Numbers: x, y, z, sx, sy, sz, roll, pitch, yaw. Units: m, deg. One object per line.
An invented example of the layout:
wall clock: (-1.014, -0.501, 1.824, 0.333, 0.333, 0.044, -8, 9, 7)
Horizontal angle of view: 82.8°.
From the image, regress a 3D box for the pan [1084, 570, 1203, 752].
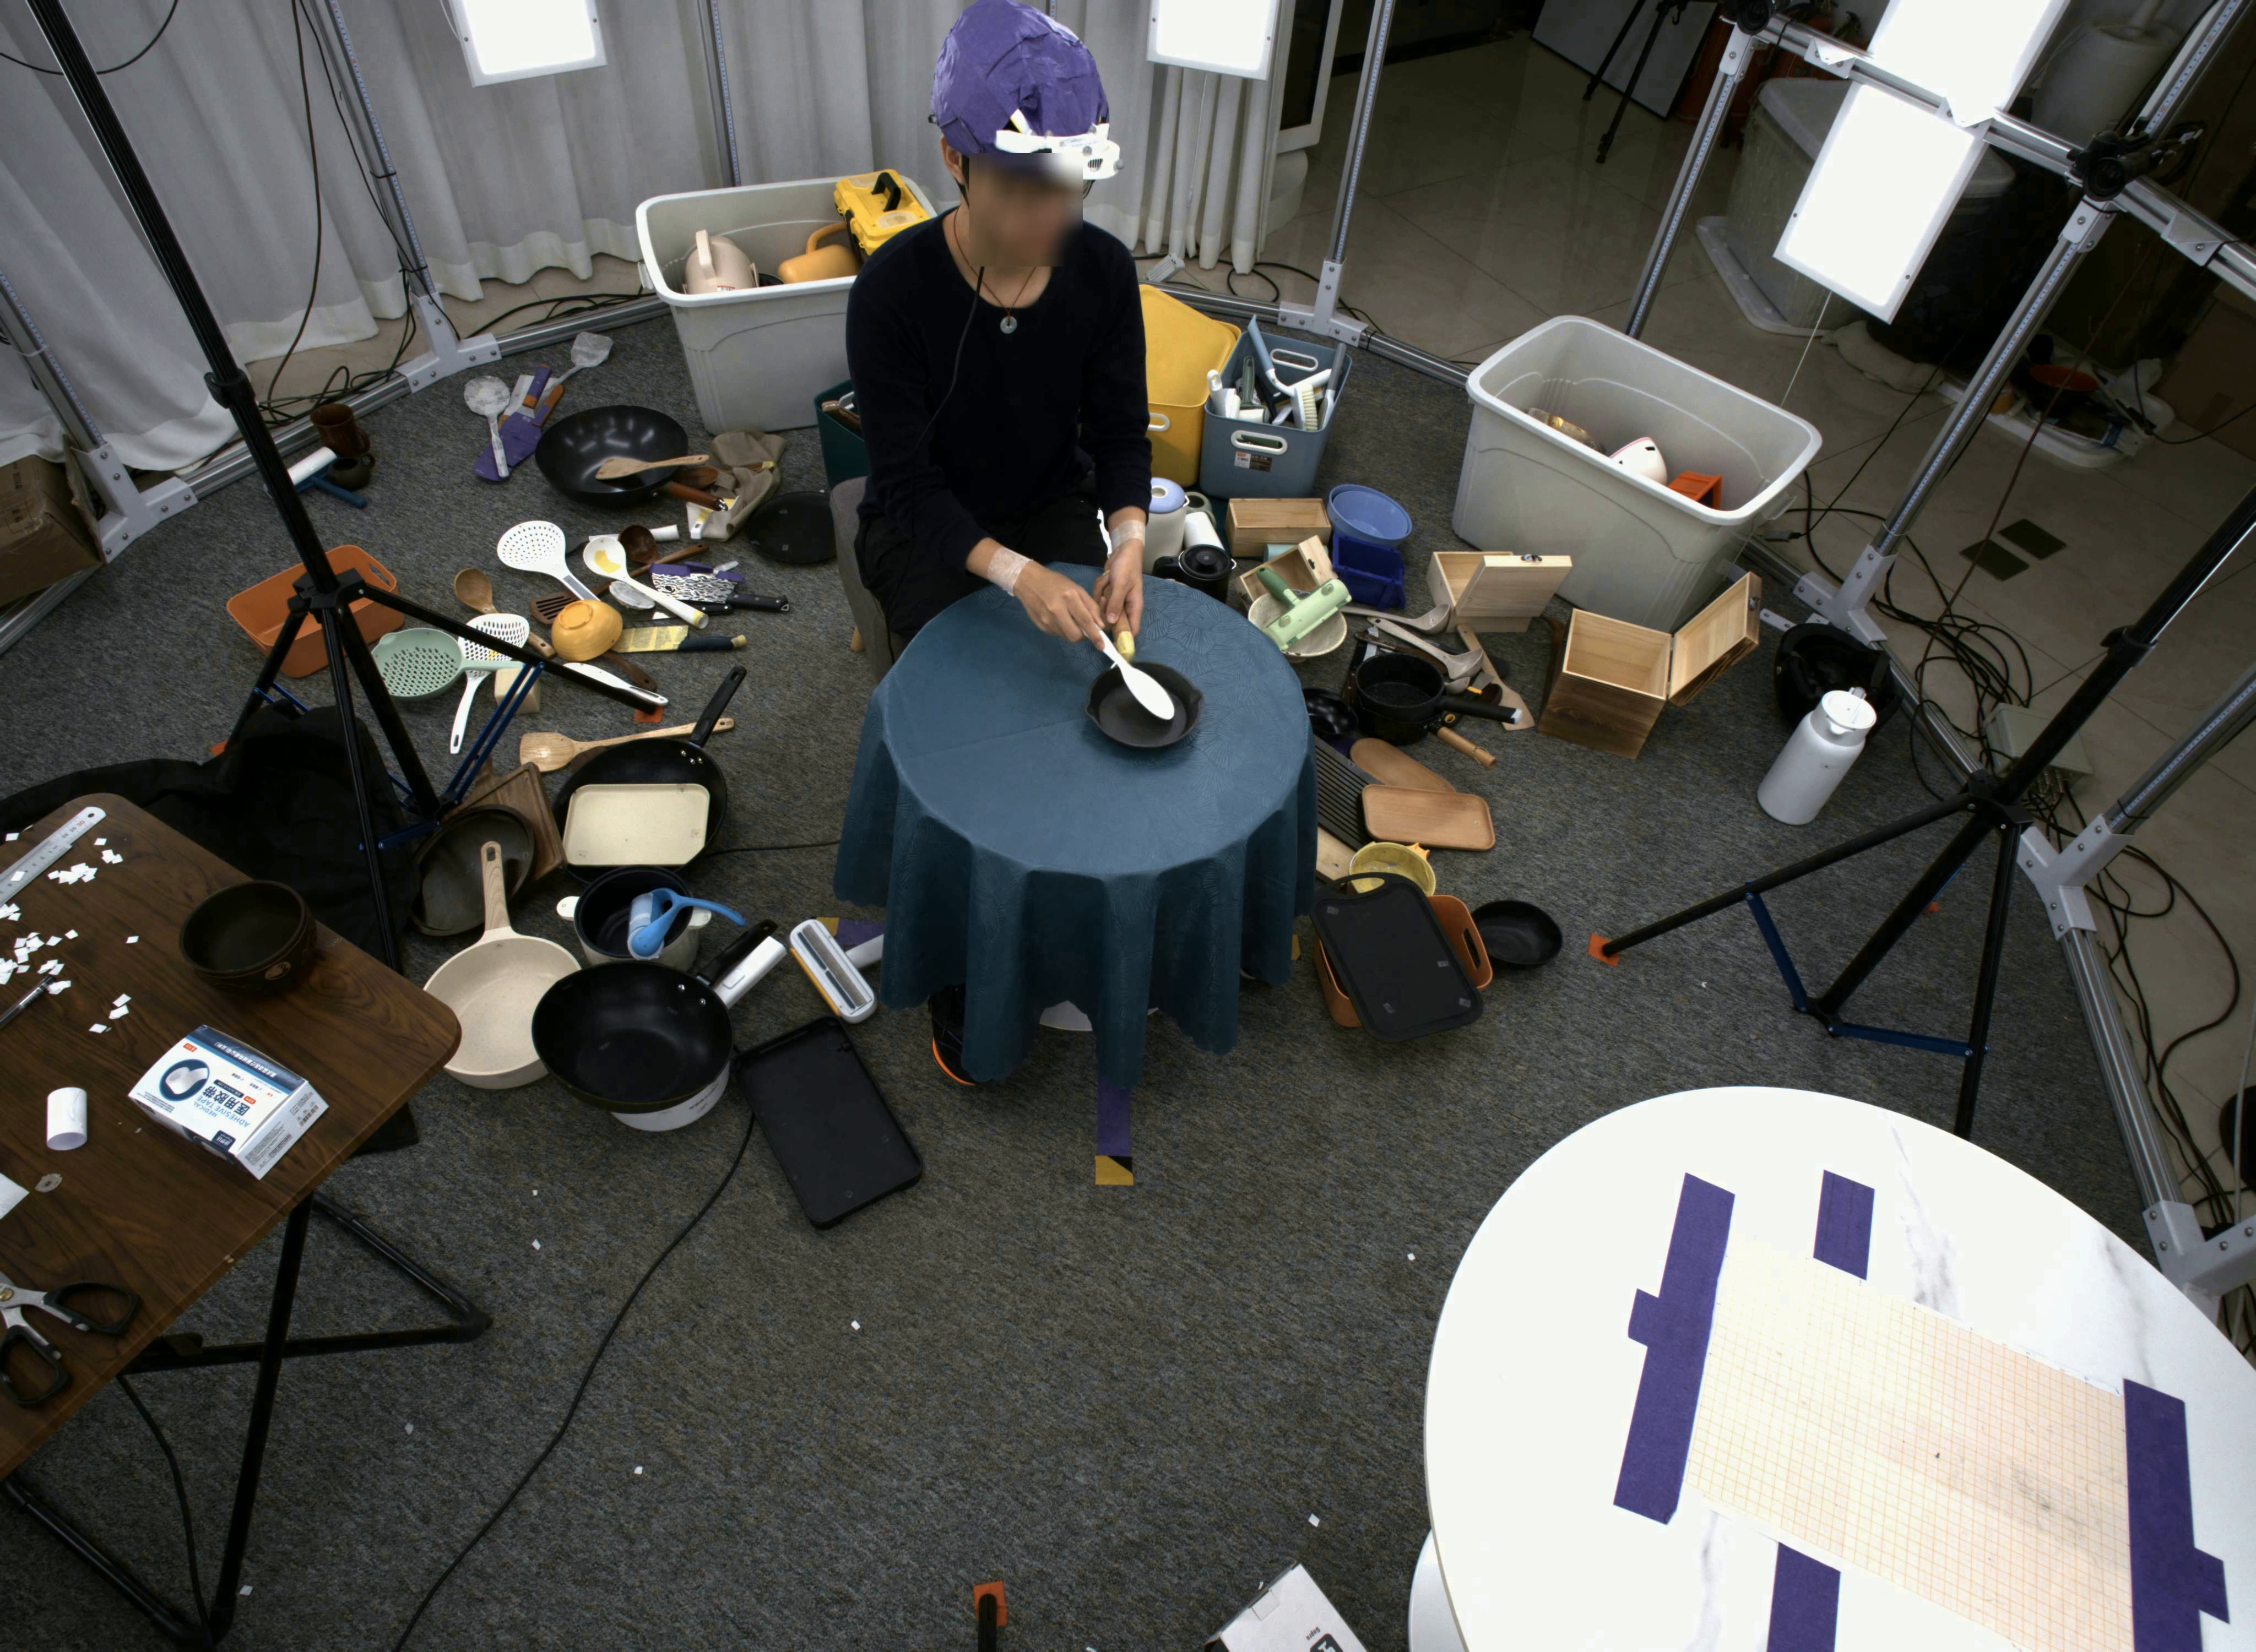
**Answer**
pan: (0.005, -0.236, 1.828, 0.169, 0.048, 0.332, -7, 55, -9)

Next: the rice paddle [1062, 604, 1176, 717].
rice paddle: (-0.008, -0.228, 1.791, 0.205, 0.029, 0.069, 44, 36, 2)
